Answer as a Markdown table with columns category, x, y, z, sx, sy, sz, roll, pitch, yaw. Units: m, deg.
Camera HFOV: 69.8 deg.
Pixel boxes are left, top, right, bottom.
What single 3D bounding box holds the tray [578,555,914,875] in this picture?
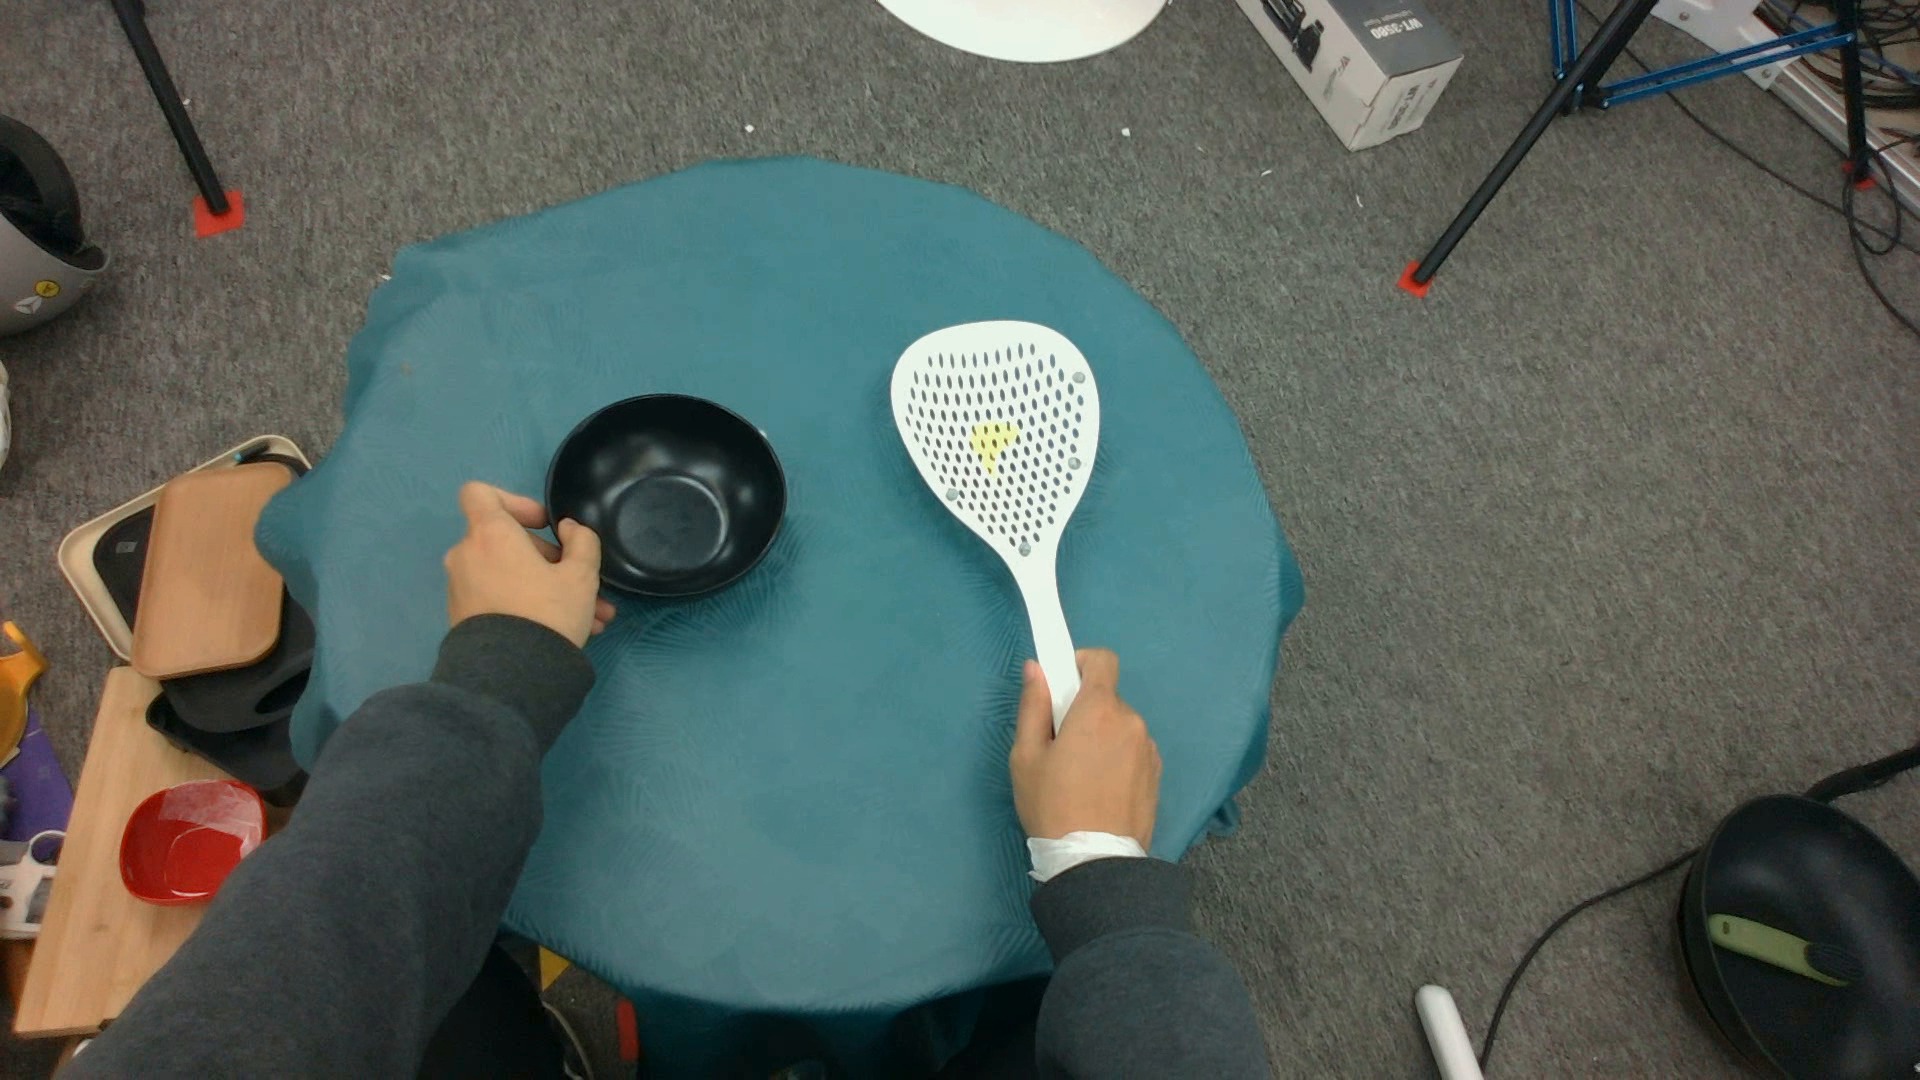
| category | x | y | z | sx | sy | sz | roll | pitch | yaw |
| --- | --- | --- | --- | --- | --- | --- | --- | --- | --- |
| tray | -0.212 | 0.168 | 1.371 | 0.300 | 0.027 | 0.192 | 41 | 63 | 12 |

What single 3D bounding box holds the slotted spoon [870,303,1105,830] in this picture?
| category | x | y | z | sx | sy | sz | roll | pitch | yaw |
| --- | --- | --- | --- | --- | --- | --- | --- | --- | --- |
| slotted spoon | 0.034 | 0.005 | 0.848 | 0.137 | 0.050 | 0.349 | -8 | 62 | -13 |
